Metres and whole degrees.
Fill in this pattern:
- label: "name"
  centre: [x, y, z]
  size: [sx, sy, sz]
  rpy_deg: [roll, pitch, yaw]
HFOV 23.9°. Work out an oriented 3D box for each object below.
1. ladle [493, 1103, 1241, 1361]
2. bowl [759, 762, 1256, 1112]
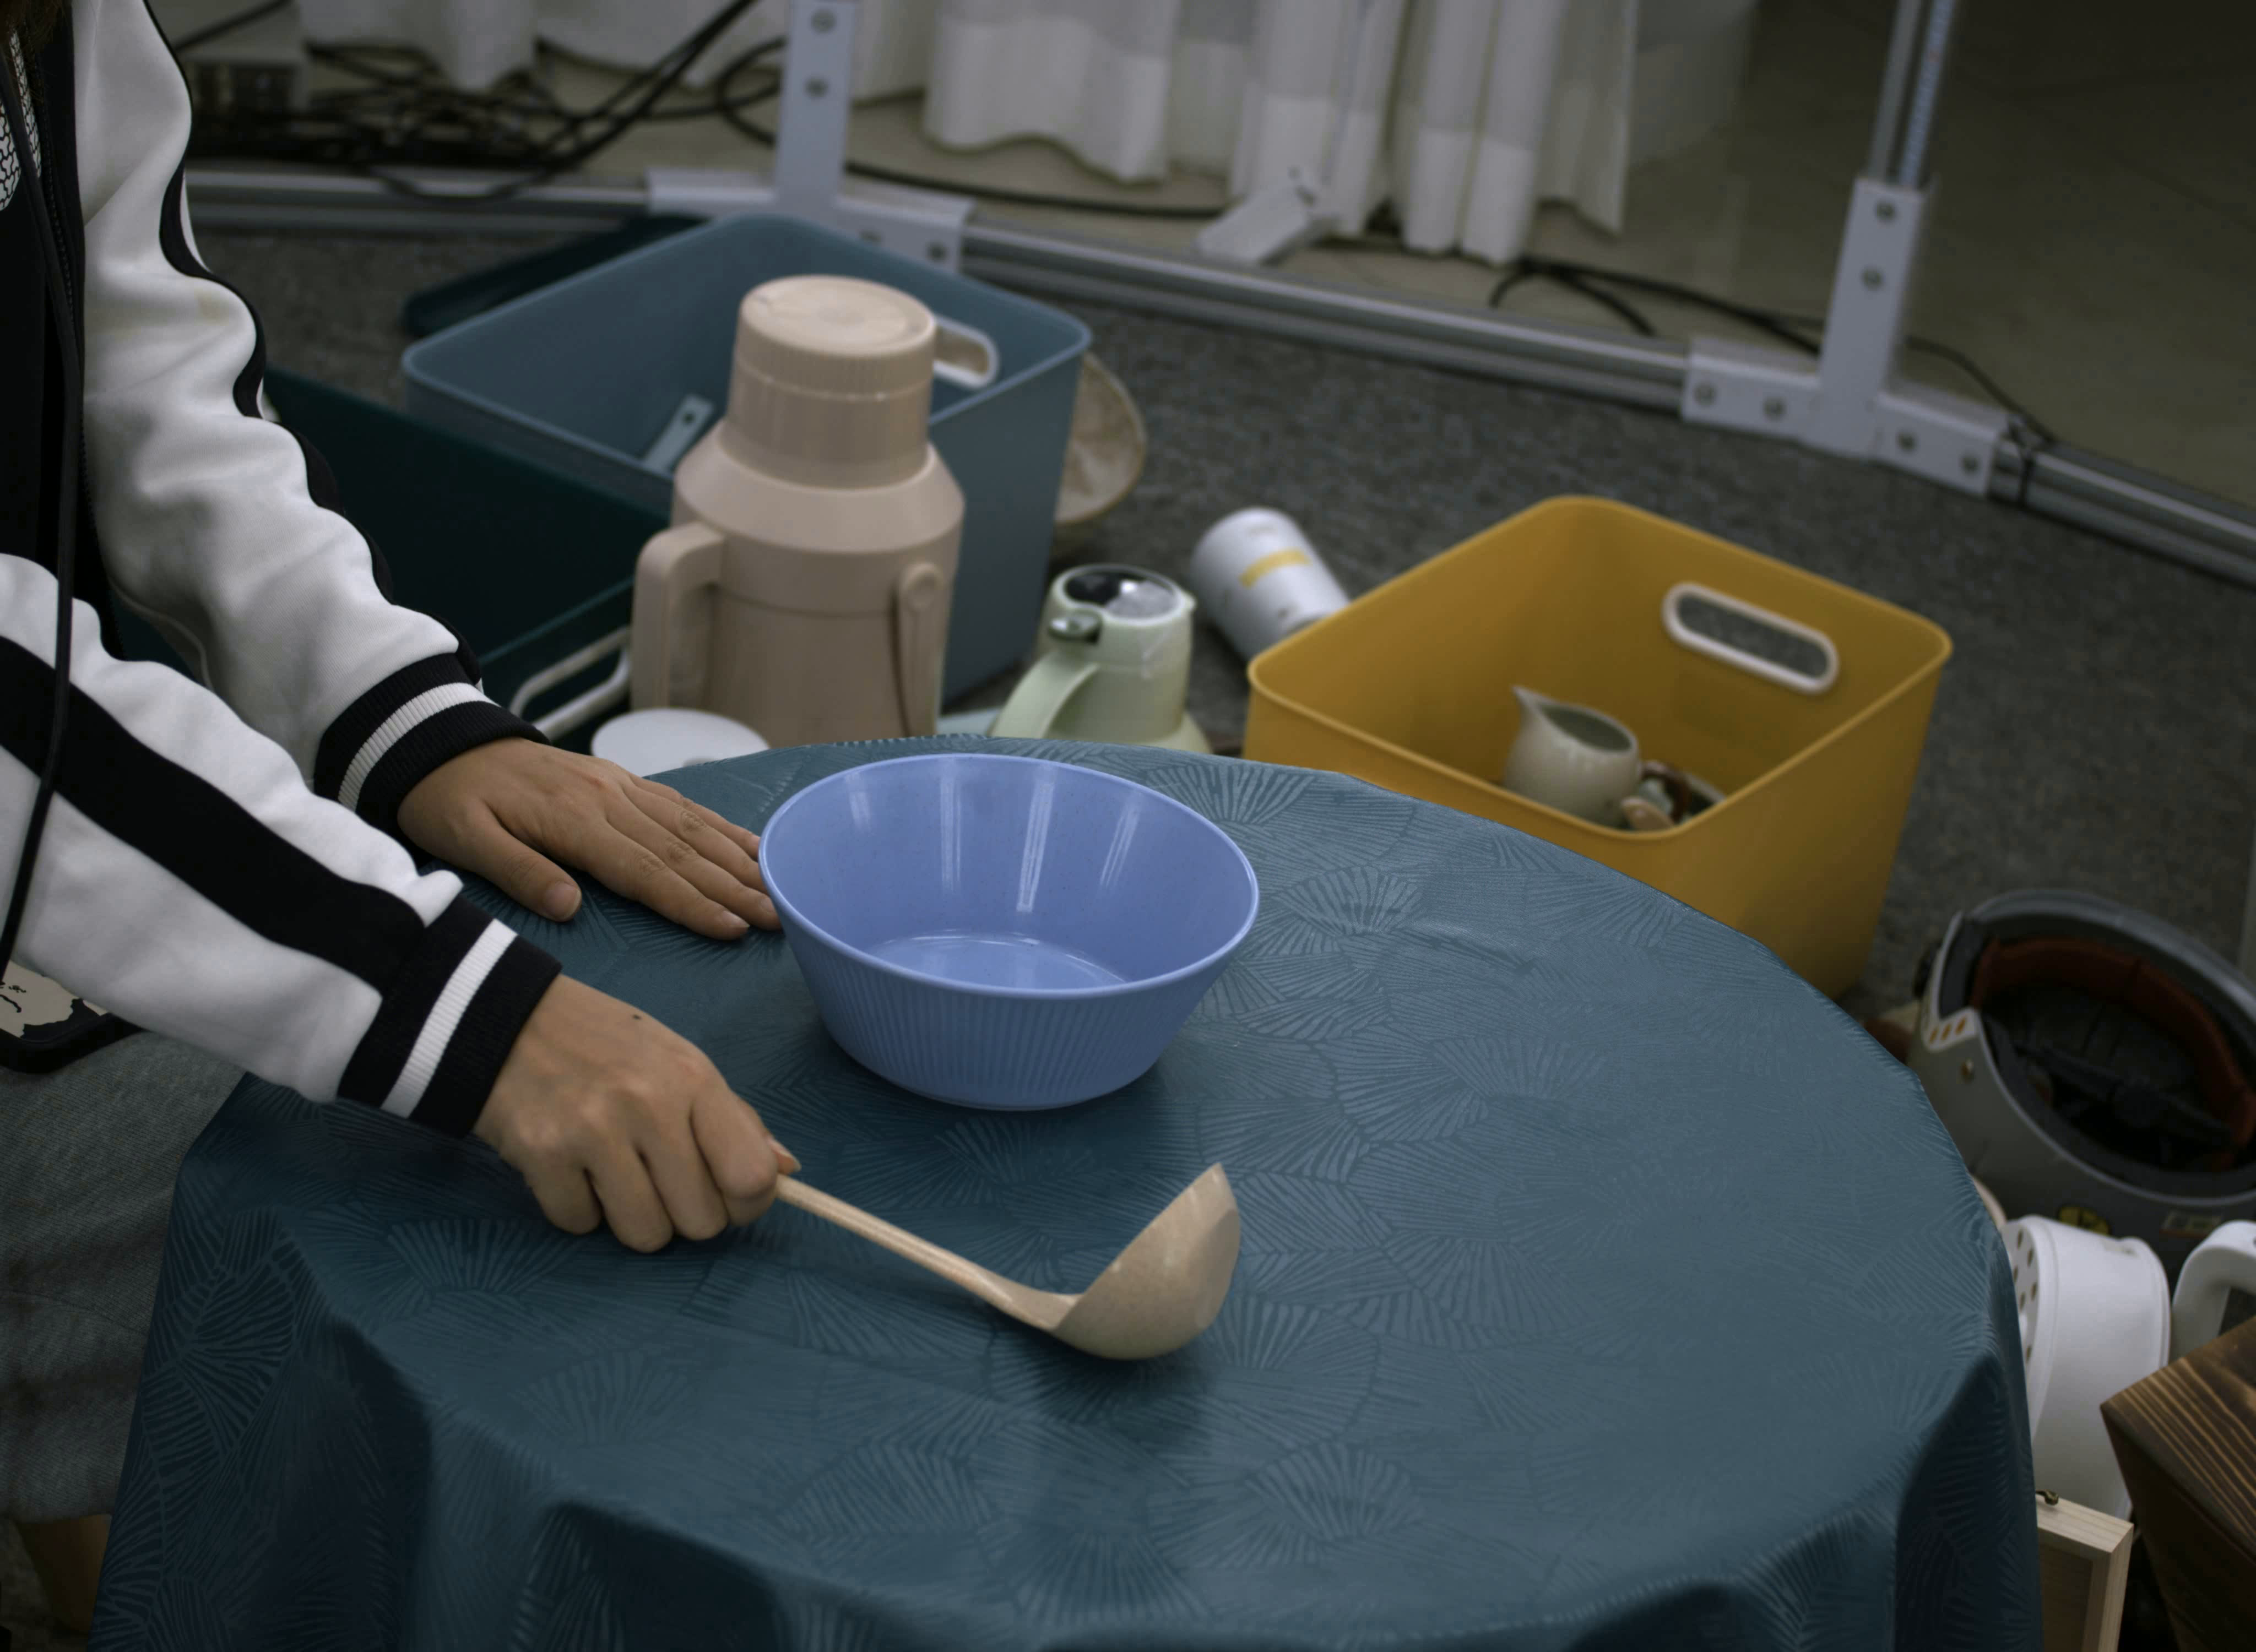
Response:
- label: "ladle"
  centre: [-0.086, 0.104, 1.725]
  size: [0.255, 0.073, 0.072]
  rpy_deg: [20, 18, 15]
- label: "bowl"
  centre: [-0.045, 0.045, 1.871]
  size: [0.175, 0.070, 0.177]
  rpy_deg: [6, 26, -3]
